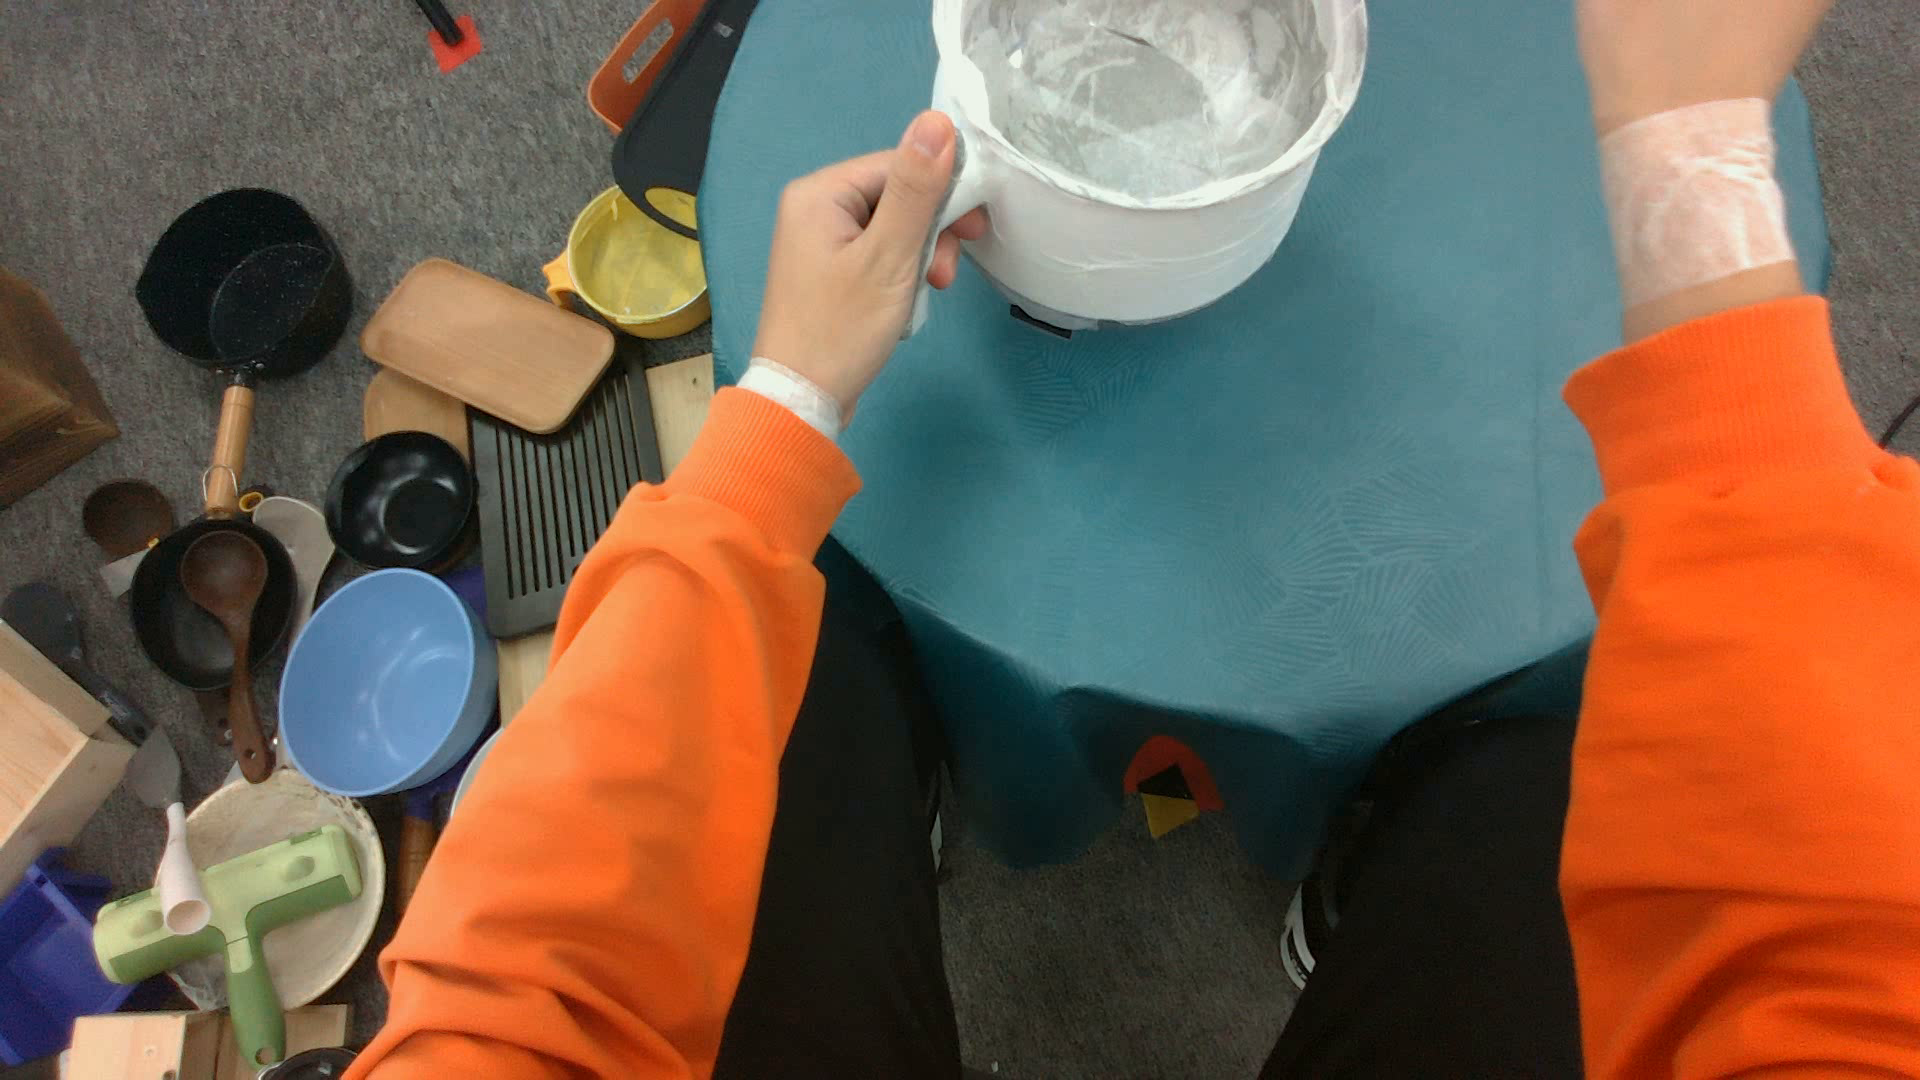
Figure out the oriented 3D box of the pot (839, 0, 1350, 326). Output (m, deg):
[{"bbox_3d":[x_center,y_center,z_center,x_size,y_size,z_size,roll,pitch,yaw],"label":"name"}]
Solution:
[{"bbox_3d":[0.047,-0.184,0.615,0.234,0.136,0.179,-37,78,-13],"label":"pot"}]
